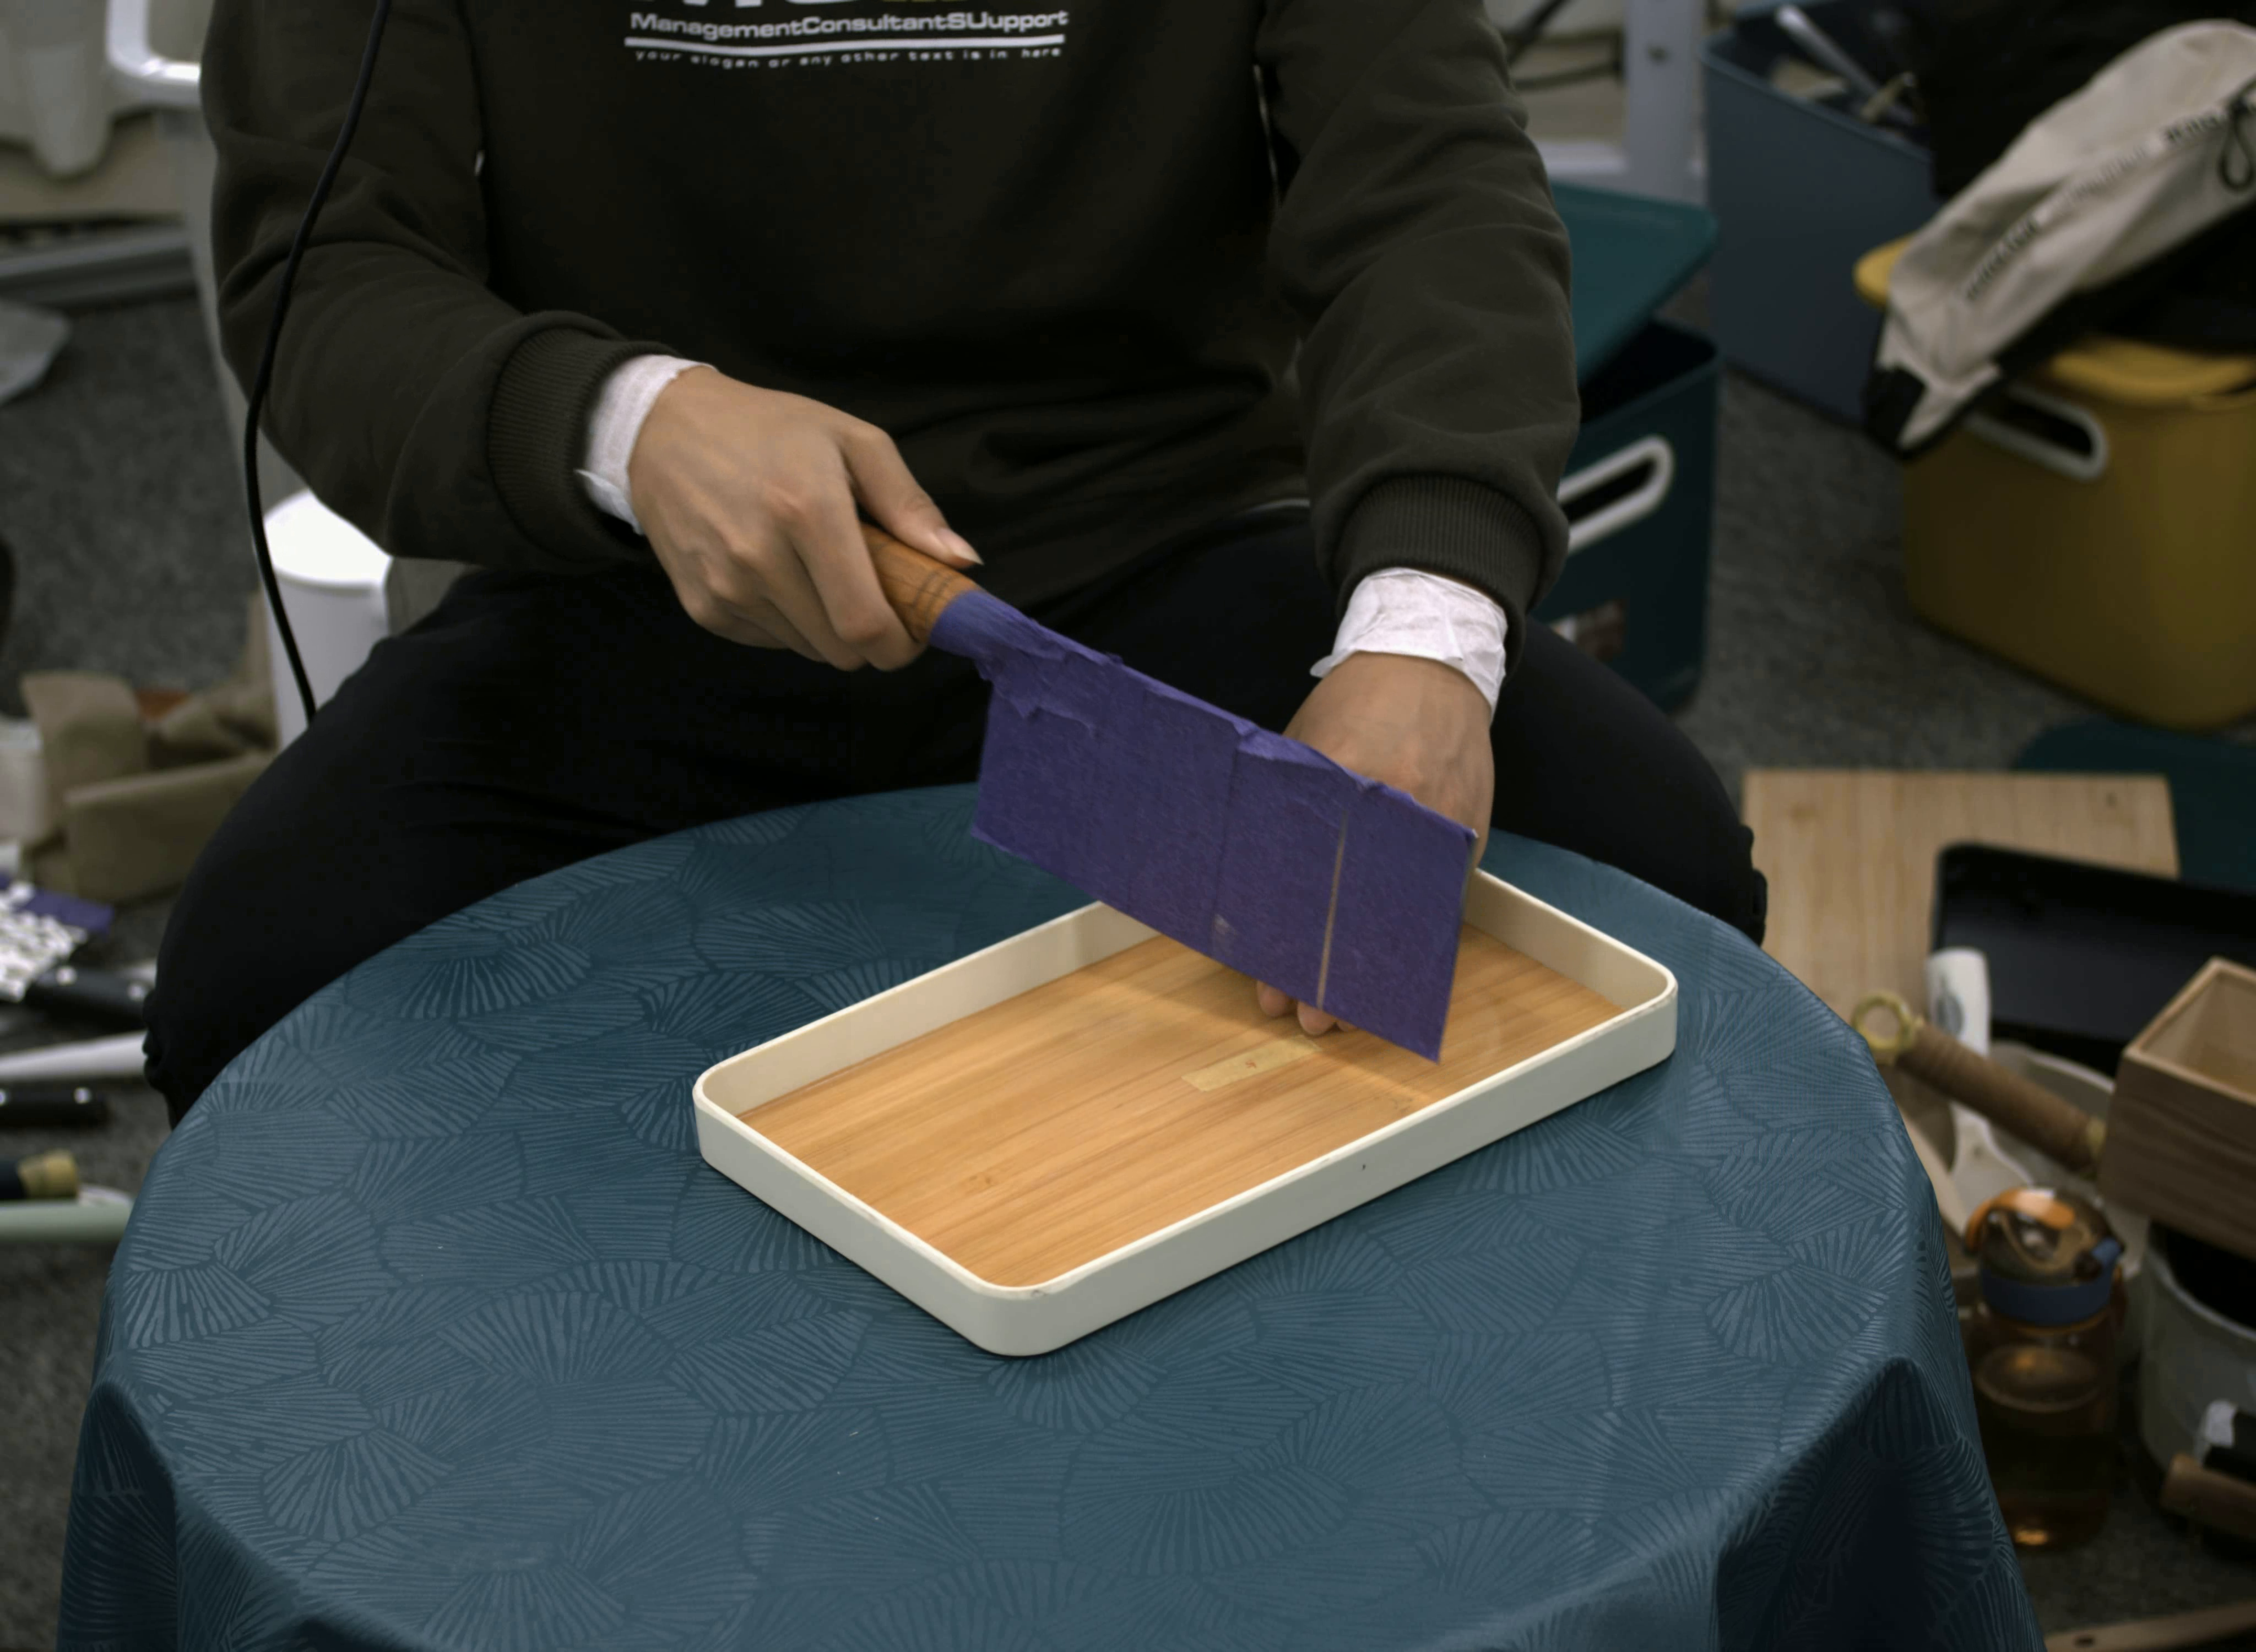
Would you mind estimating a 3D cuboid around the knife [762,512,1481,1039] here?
[{"bbox_3d":[-0.010,-0.016,1.949,0.315,0.103,0.032,26,28,34],"label":"knife"}]

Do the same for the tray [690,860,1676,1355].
[{"bbox_3d":[0.020,0.081,1.909,0.303,0.027,0.192,-22,33,-33],"label":"tray"}]
